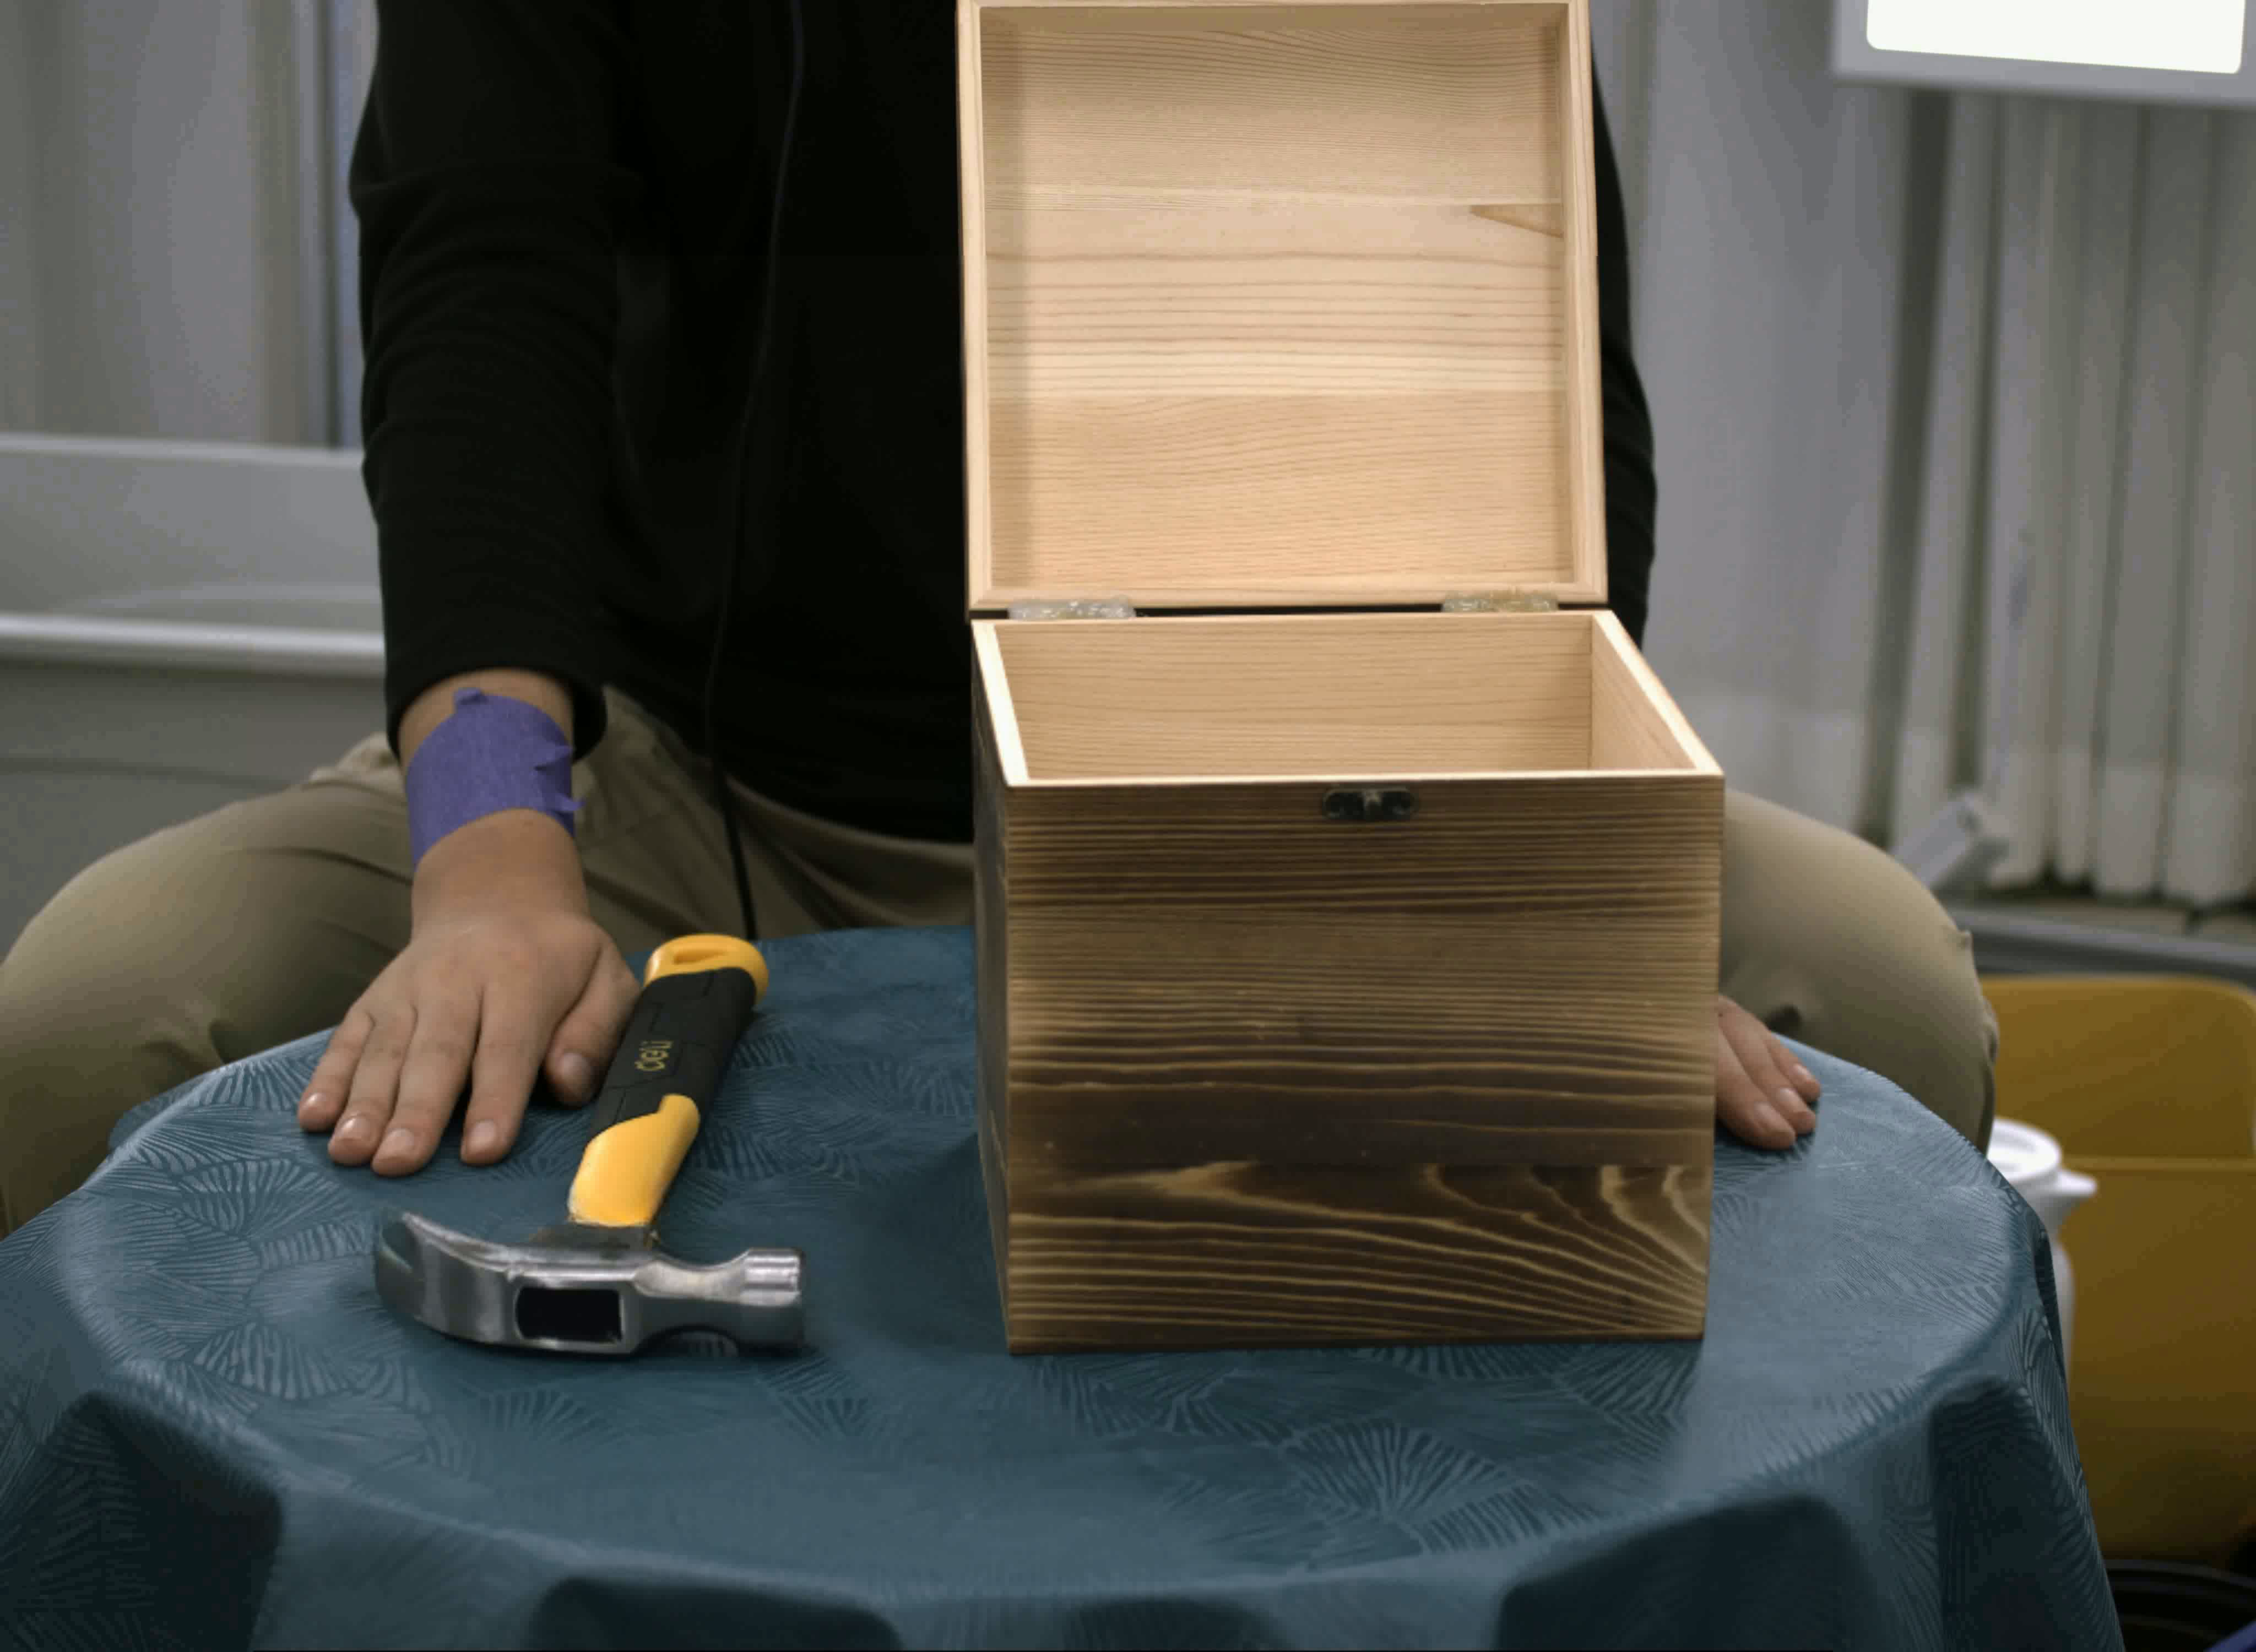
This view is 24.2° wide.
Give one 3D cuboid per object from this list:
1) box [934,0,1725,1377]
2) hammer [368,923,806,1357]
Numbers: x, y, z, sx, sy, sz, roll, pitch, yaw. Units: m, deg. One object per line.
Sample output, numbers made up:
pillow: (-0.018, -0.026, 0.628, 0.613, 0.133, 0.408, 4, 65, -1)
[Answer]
box: (0.053, -0.066, 1.586, 0.208, 0.378, 0.320, -2, 16, -4)
hammer: (-0.149, 0.090, 1.634, 0.131, 0.032, 0.337, 1, 16, 3)
